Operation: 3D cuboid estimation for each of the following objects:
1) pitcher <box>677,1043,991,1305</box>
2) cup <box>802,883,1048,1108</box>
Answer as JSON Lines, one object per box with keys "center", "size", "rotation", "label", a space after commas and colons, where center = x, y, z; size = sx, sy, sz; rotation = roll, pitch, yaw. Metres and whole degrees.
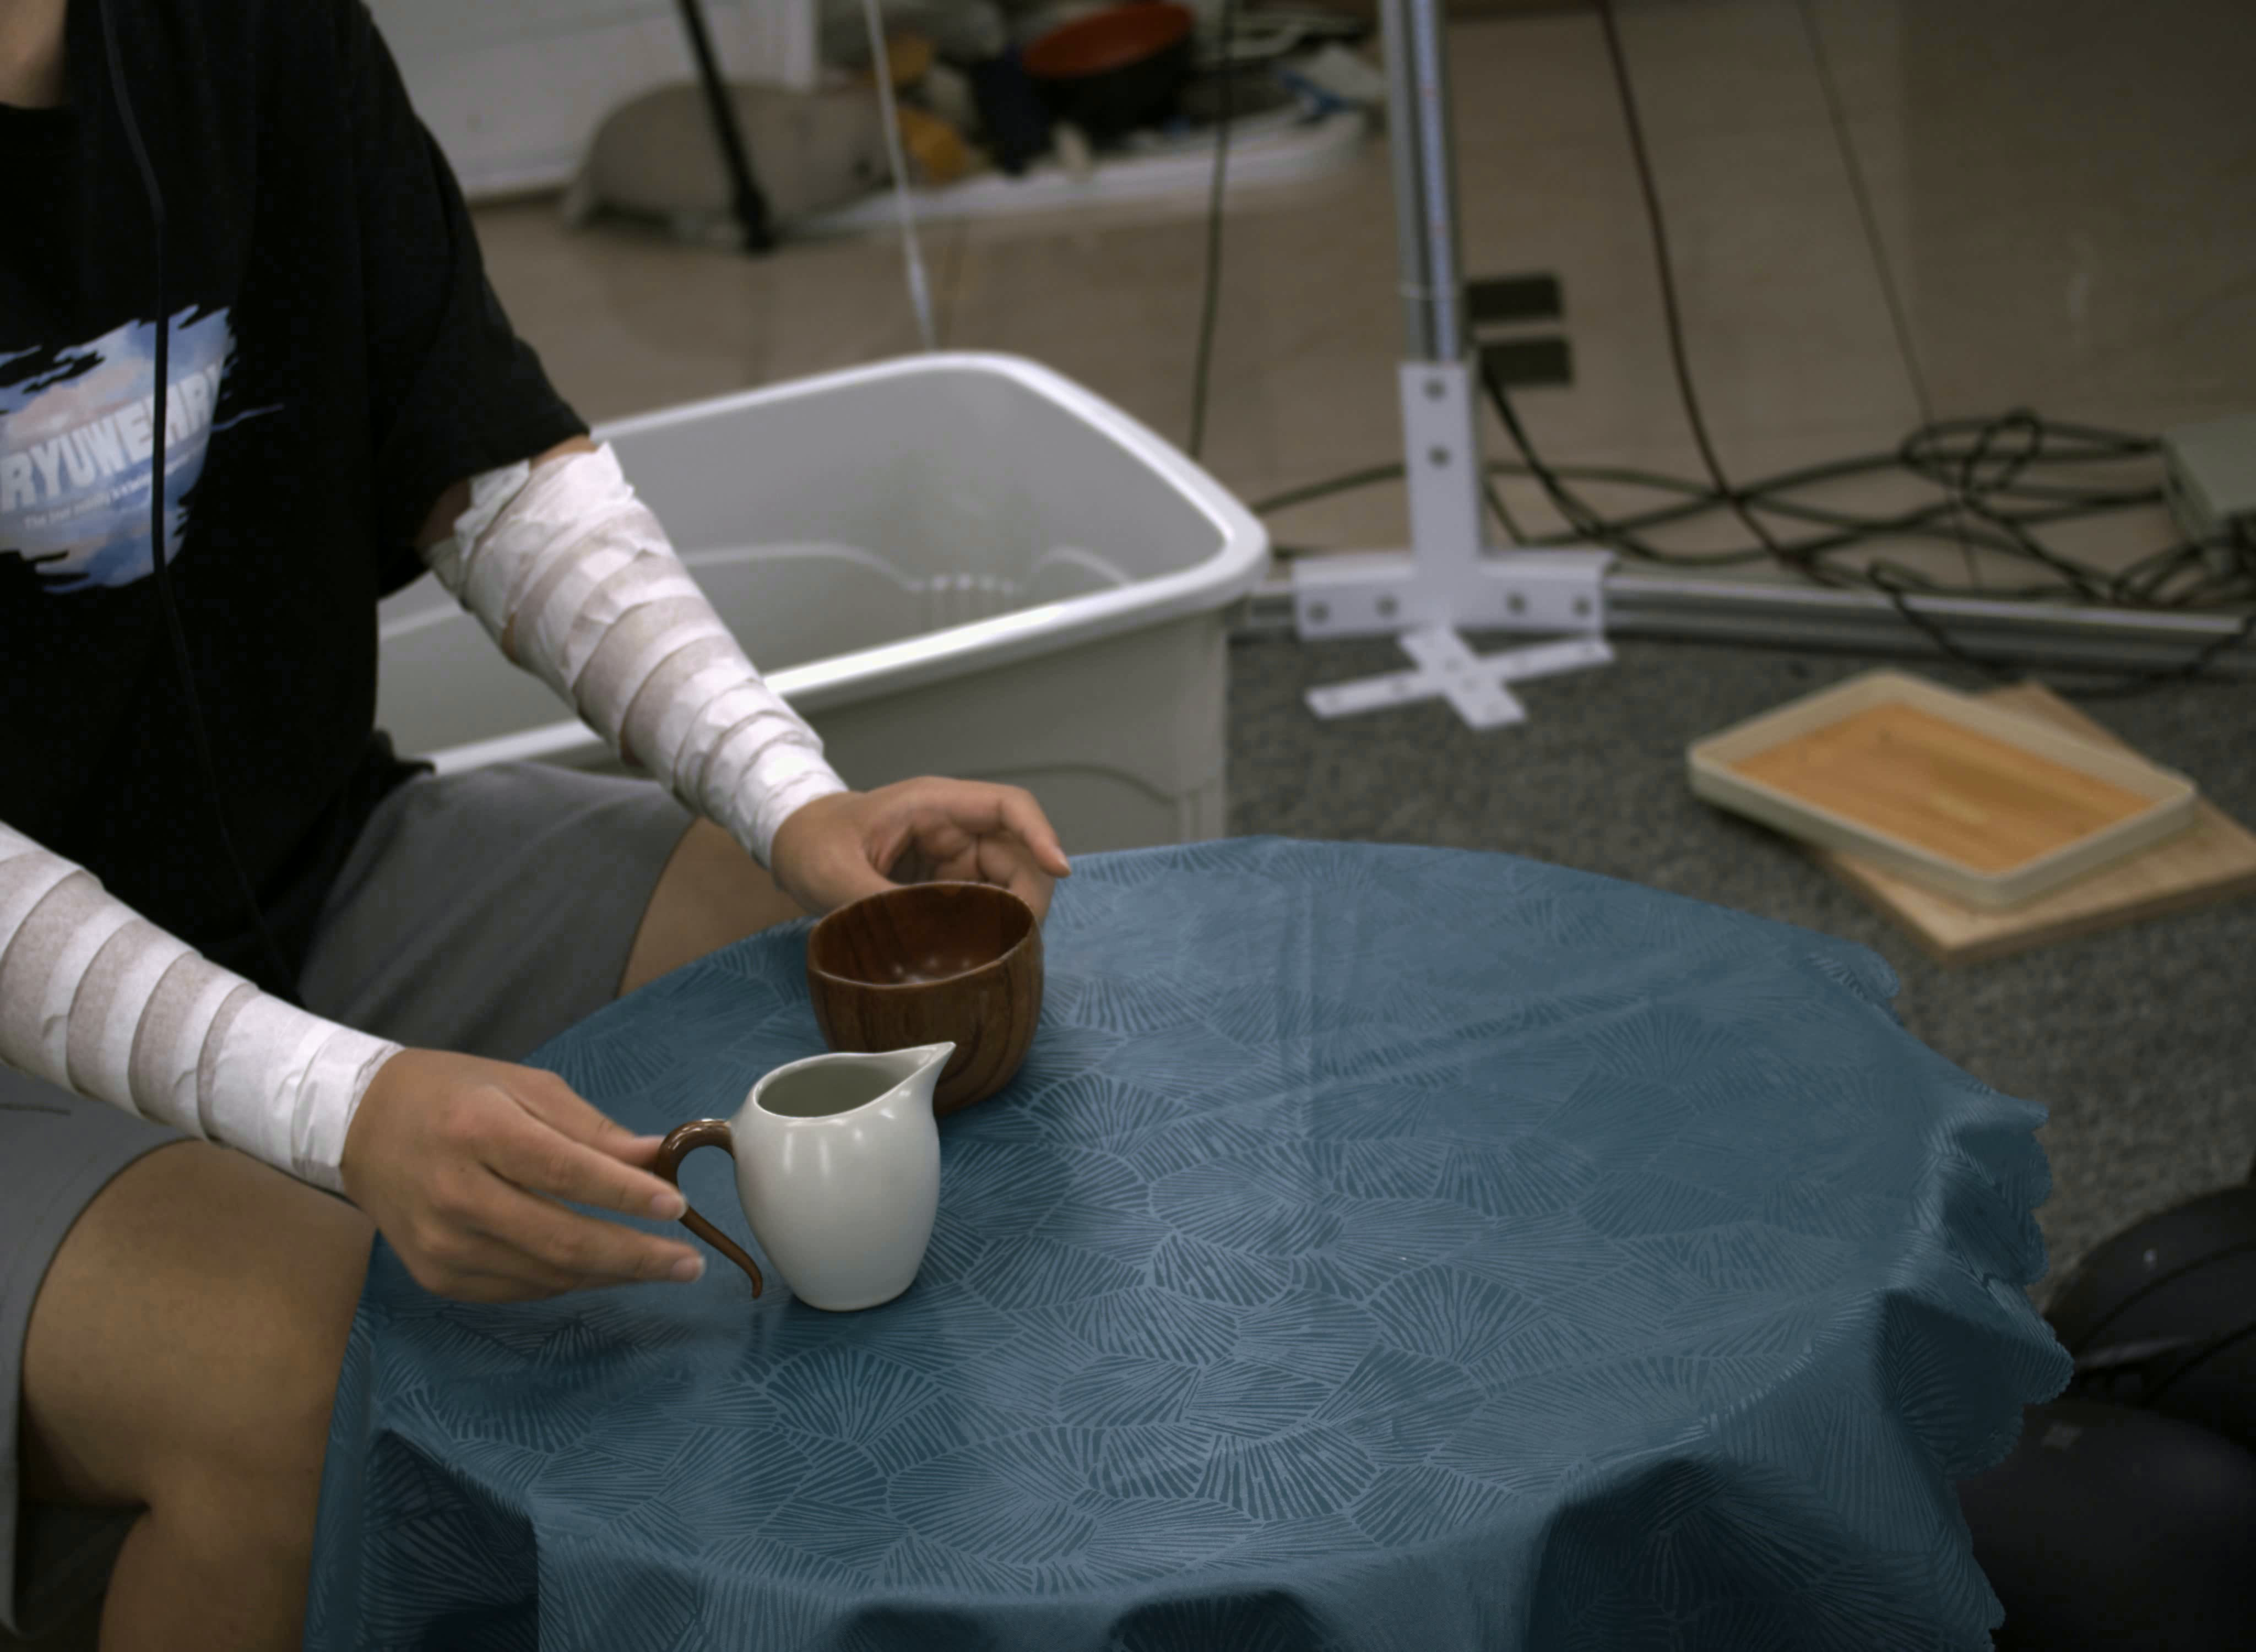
{"center": [-0.105, 0.129, 2.088], "size": [0.119, 0.089, 0.075], "rotation": [-7, 20, -9], "label": "pitcher"}
{"center": [-0.074, 0.066, 2.247], "size": [0.096, 0.069, 0.118], "rotation": [-3, 23, 15], "label": "cup"}
